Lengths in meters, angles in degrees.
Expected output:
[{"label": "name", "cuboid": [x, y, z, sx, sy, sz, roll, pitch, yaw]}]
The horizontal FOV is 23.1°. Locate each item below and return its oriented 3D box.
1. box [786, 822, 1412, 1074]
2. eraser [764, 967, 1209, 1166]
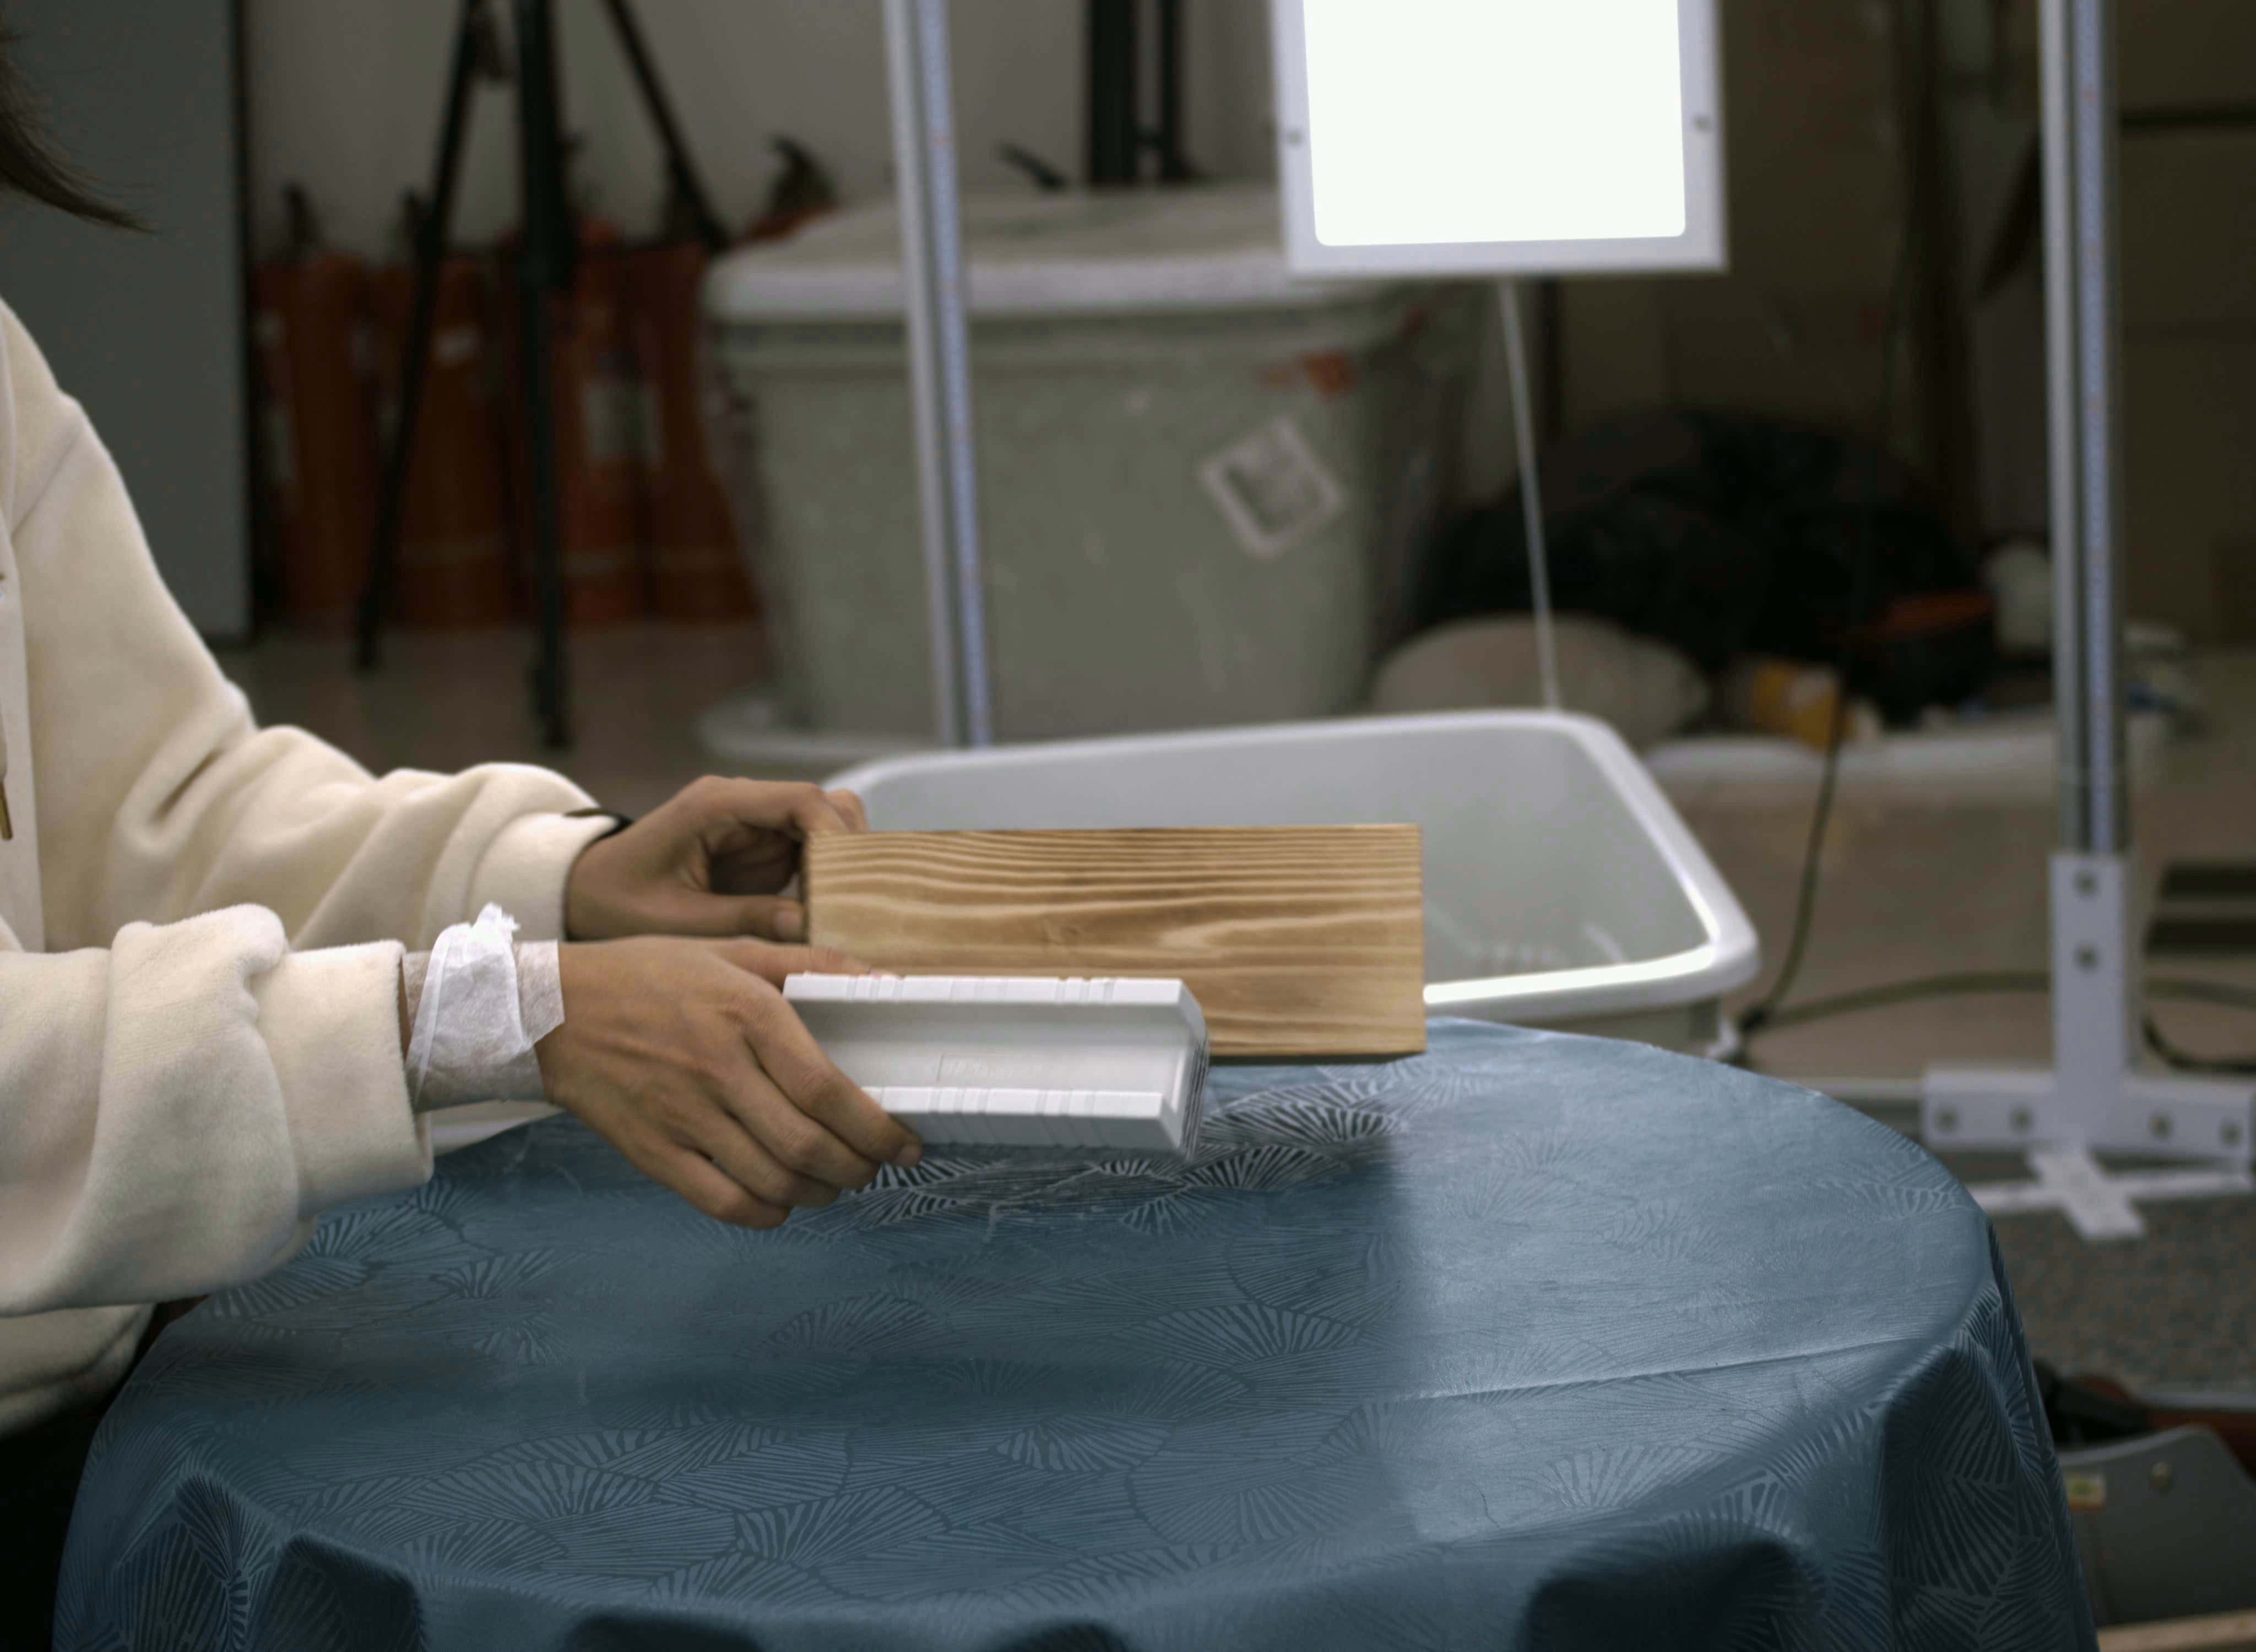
[{"label": "box", "cuboid": [-0.013, 0.044, 1.927, 0.210, 0.080, 0.108, 0, -6, -4]}, {"label": "eraser", "cuboid": [-0.044, 0.077, 1.739, 0.136, 0.049, 0.046, -2, -25, 19]}]
